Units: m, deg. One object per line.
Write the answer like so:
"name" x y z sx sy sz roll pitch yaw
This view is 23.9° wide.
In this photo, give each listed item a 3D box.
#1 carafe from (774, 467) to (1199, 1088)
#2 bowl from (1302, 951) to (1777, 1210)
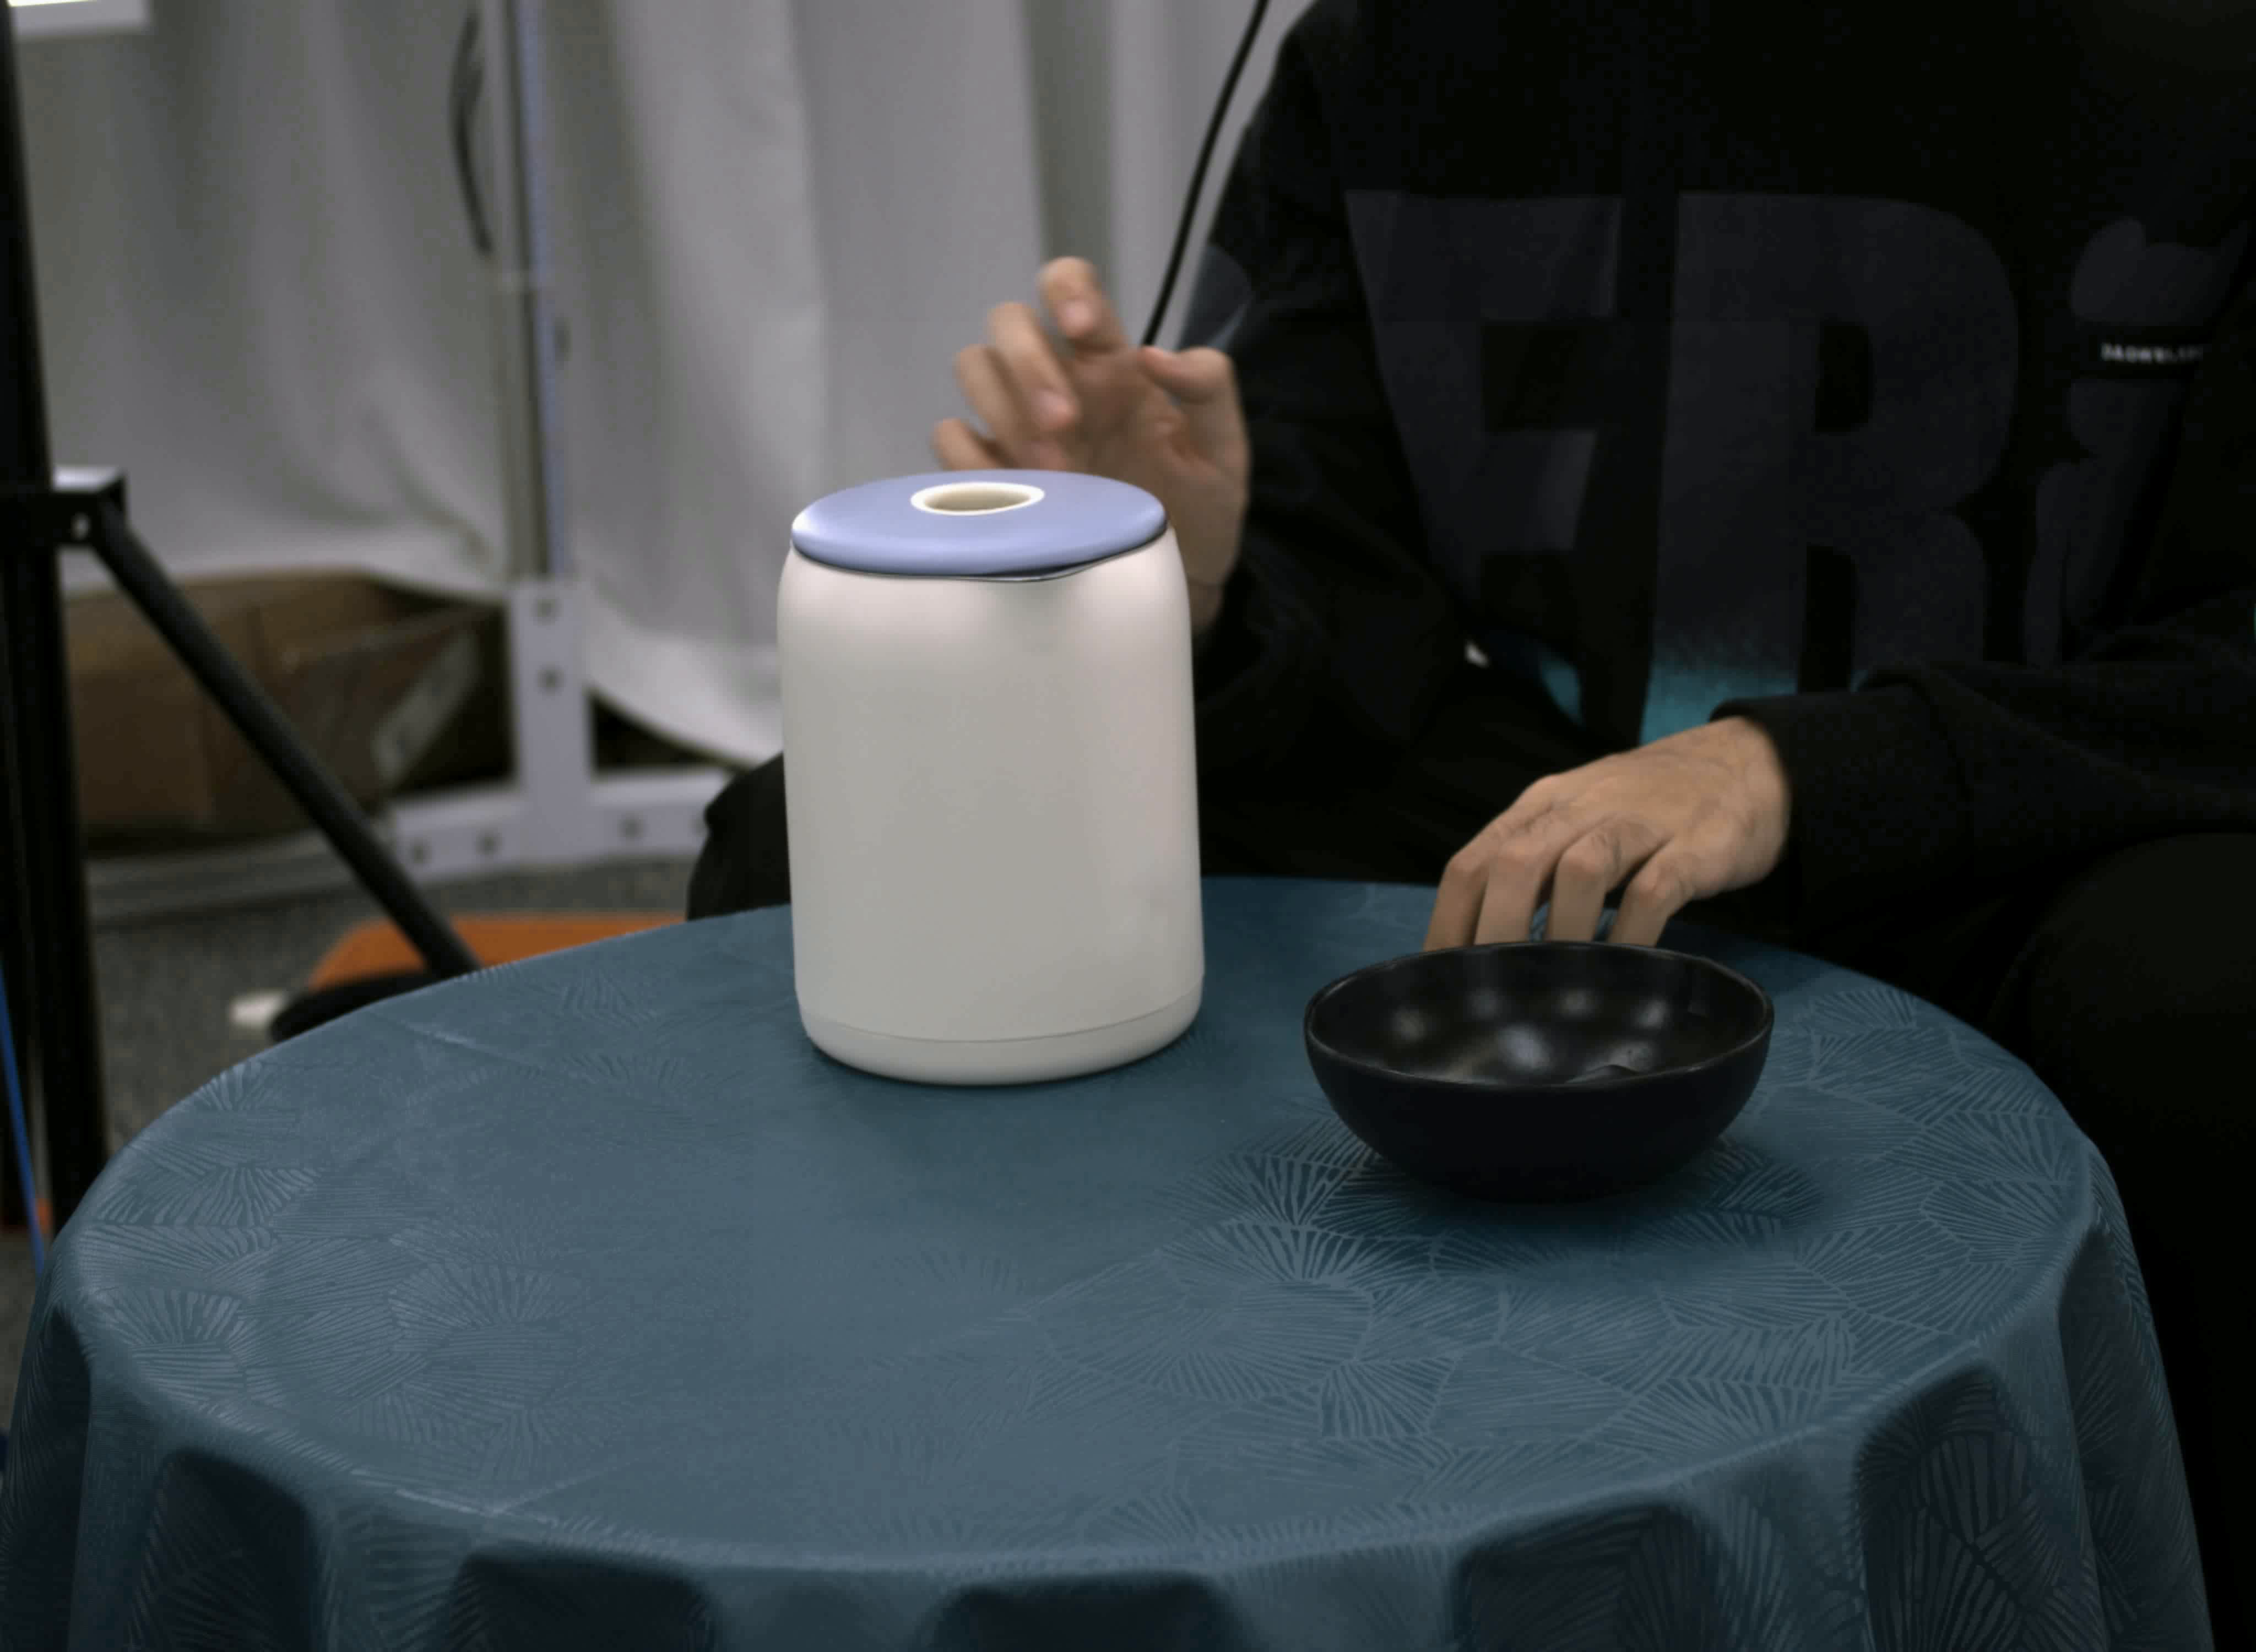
"carafe" -0.053 -0.022 1.713 0.130 0.182 0.194 -6 14 -17
"bowl" 0.121 0.079 1.553 0.139 0.050 0.140 -3 14 -1
